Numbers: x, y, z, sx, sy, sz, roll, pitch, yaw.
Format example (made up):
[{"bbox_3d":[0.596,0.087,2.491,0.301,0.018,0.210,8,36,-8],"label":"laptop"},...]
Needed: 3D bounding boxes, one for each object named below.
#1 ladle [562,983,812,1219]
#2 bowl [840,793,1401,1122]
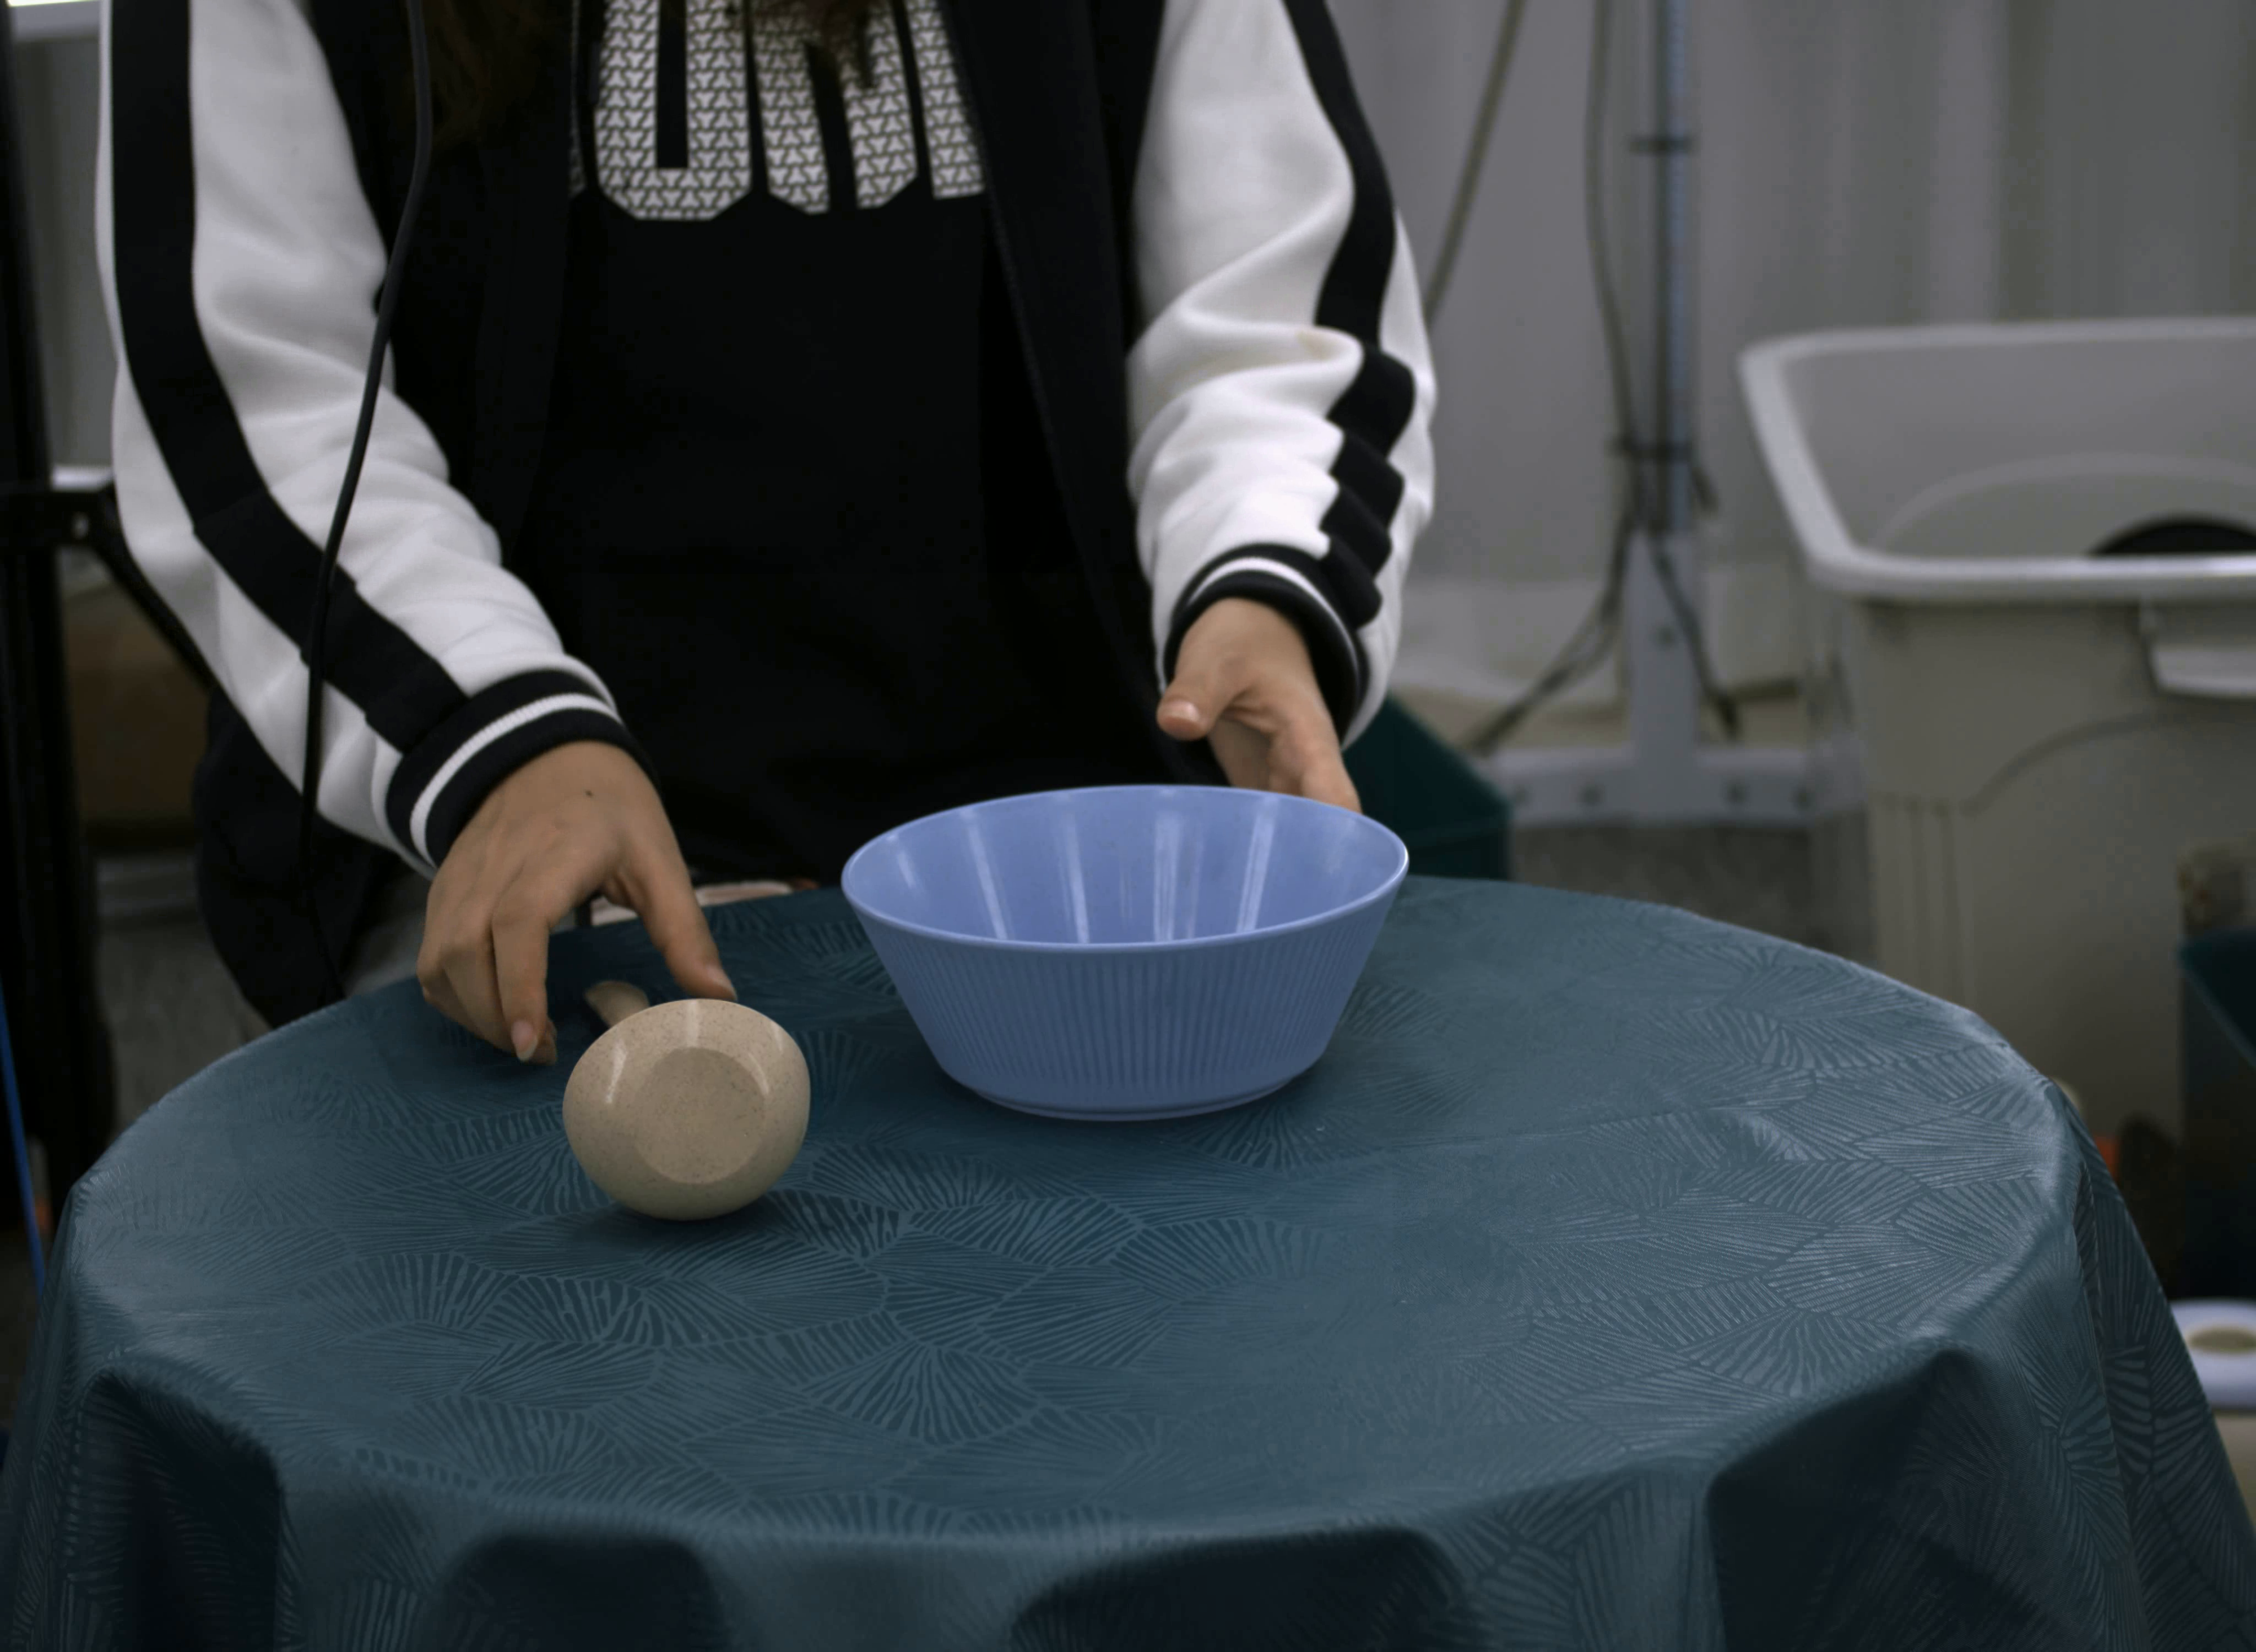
[{"bbox_3d":[-0.150,0.054,1.639,0.071,0.073,0.258,-4,16,-13],"label":"ladle"},{"bbox_3d":[-0.002,0.043,1.661,0.175,0.070,0.177,-2,16,-1],"label":"bowl"}]
